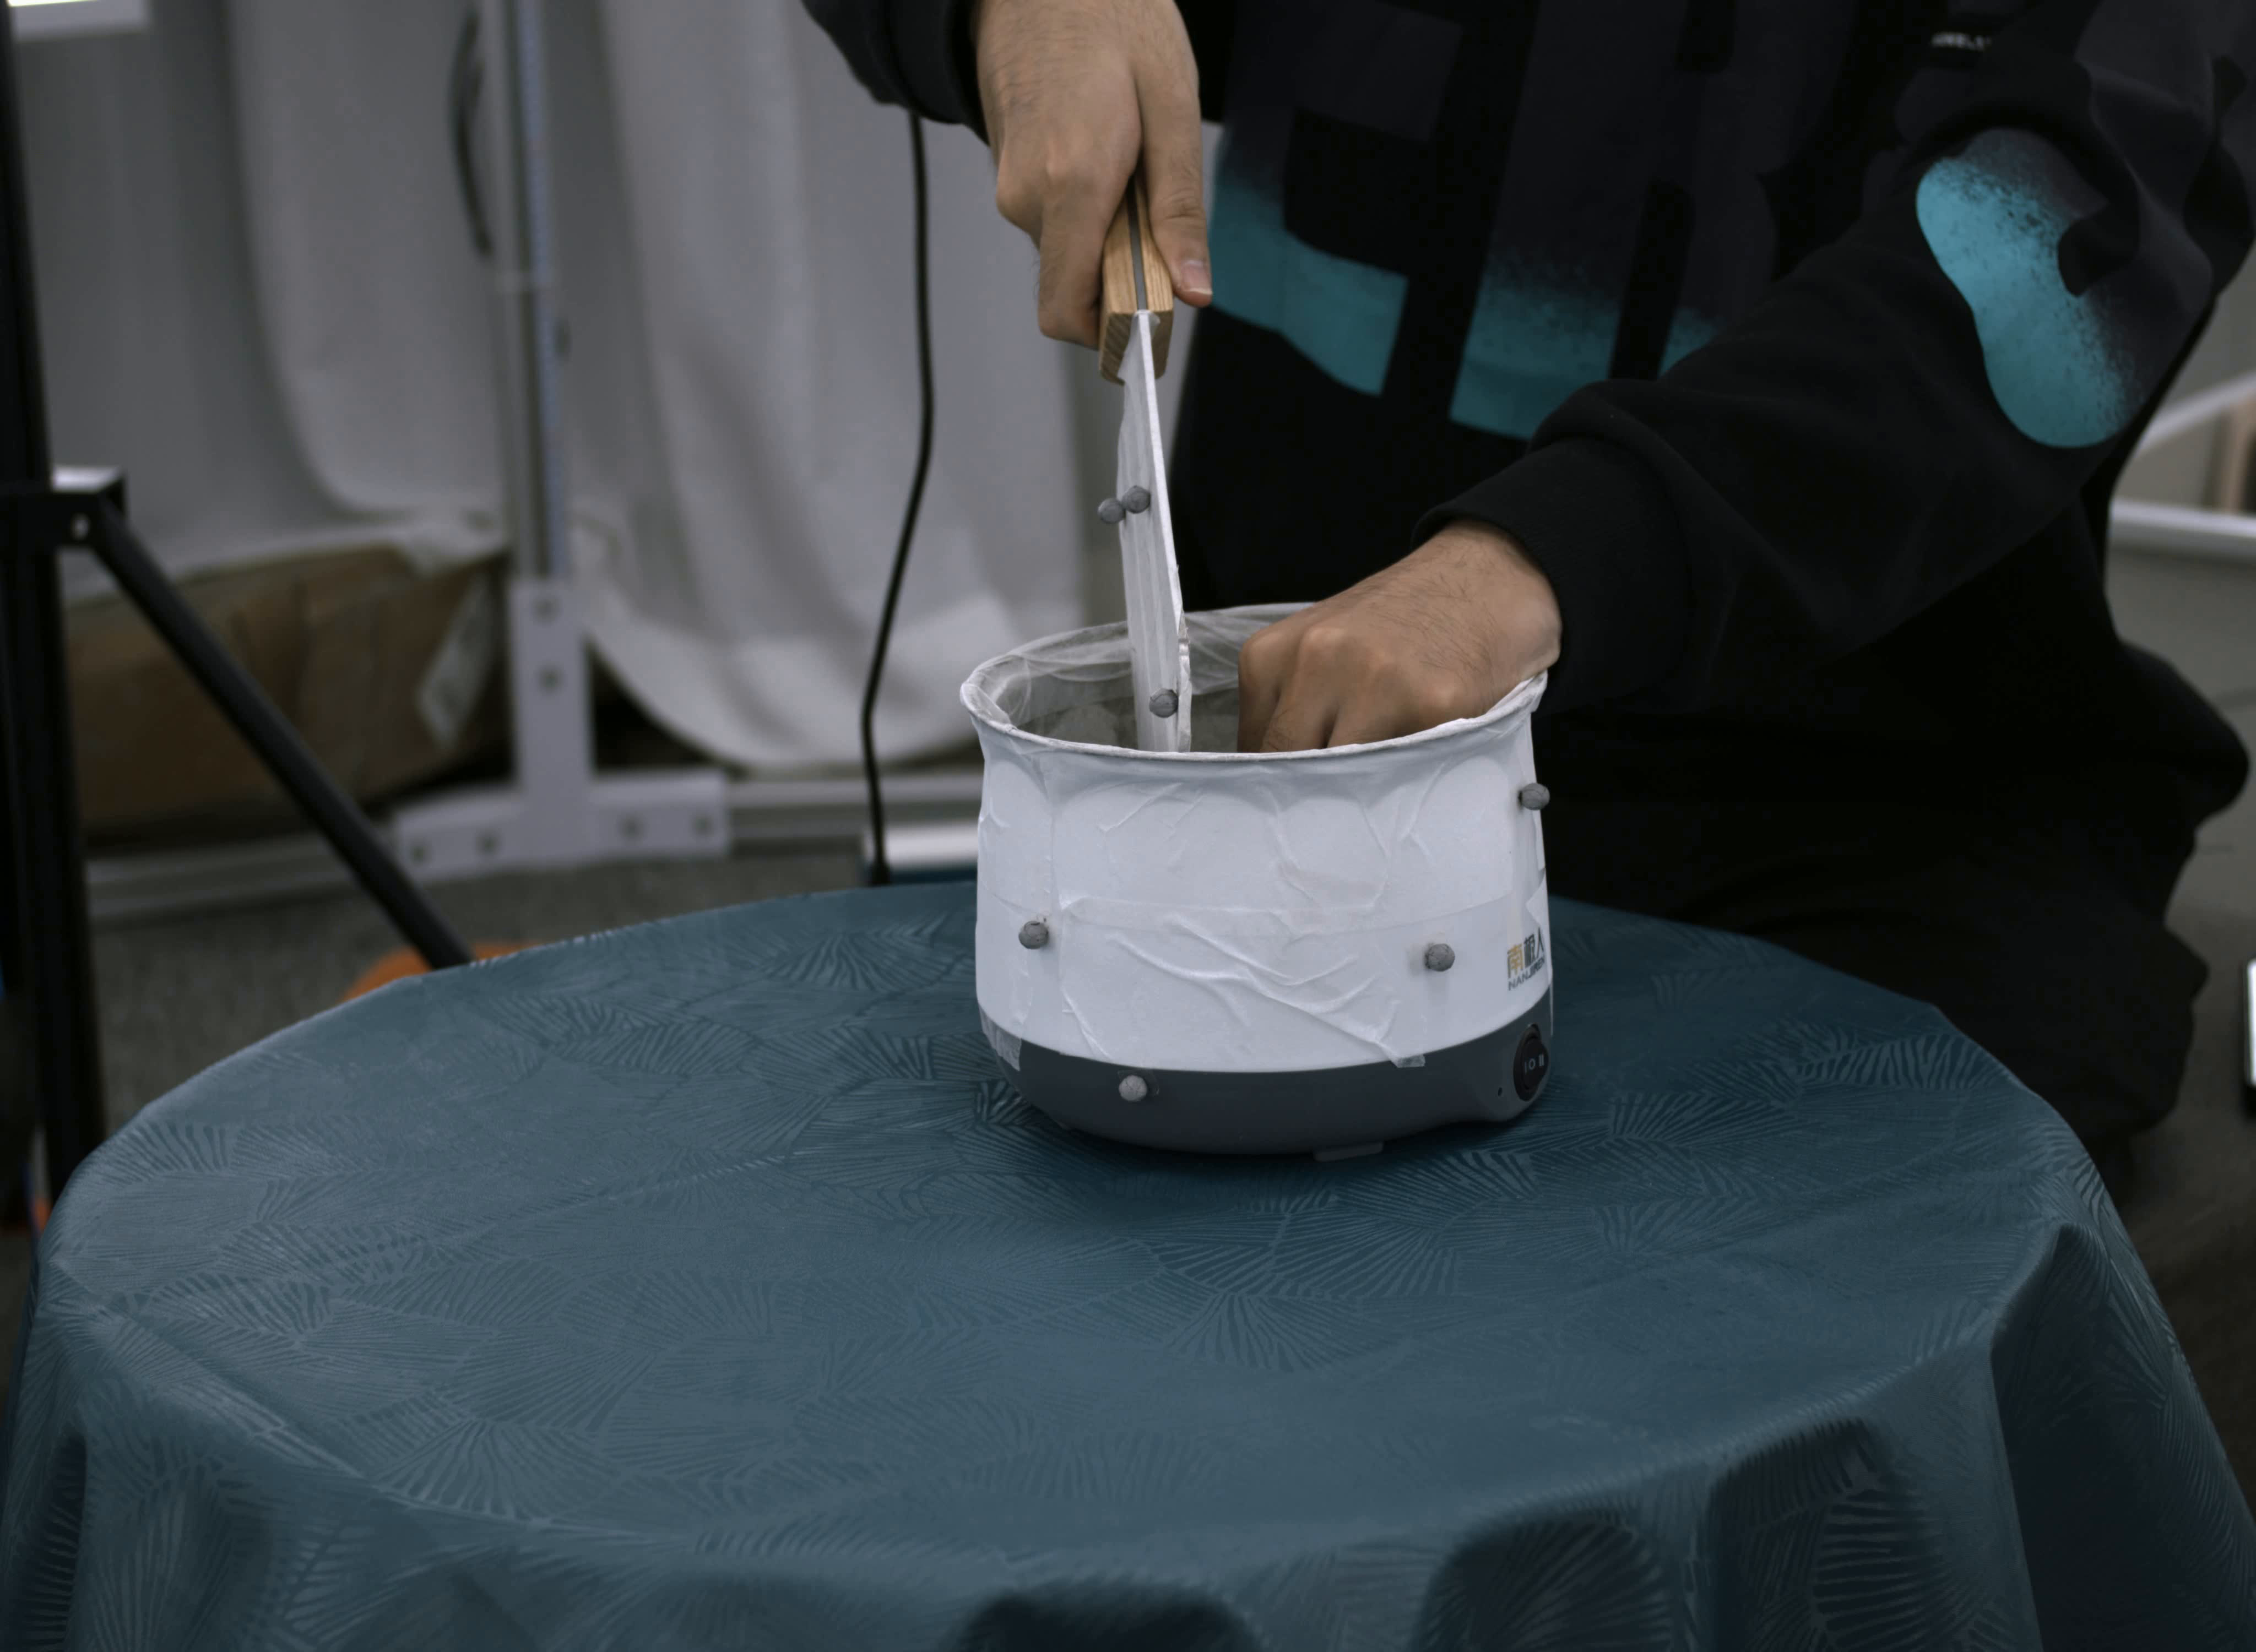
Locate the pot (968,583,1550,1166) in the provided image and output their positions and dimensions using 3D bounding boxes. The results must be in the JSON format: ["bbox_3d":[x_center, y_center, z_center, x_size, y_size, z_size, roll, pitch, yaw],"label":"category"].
[{"bbox_3d":[0.052,0.009,1.646,0.181,0.136,0.230,6,19,25],"label":"pot"}]

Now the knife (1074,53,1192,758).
[{"bbox_3d":[0.004,-0.119,1.654,0.021,0.113,0.319,1,52,-7],"label":"knife"}]
